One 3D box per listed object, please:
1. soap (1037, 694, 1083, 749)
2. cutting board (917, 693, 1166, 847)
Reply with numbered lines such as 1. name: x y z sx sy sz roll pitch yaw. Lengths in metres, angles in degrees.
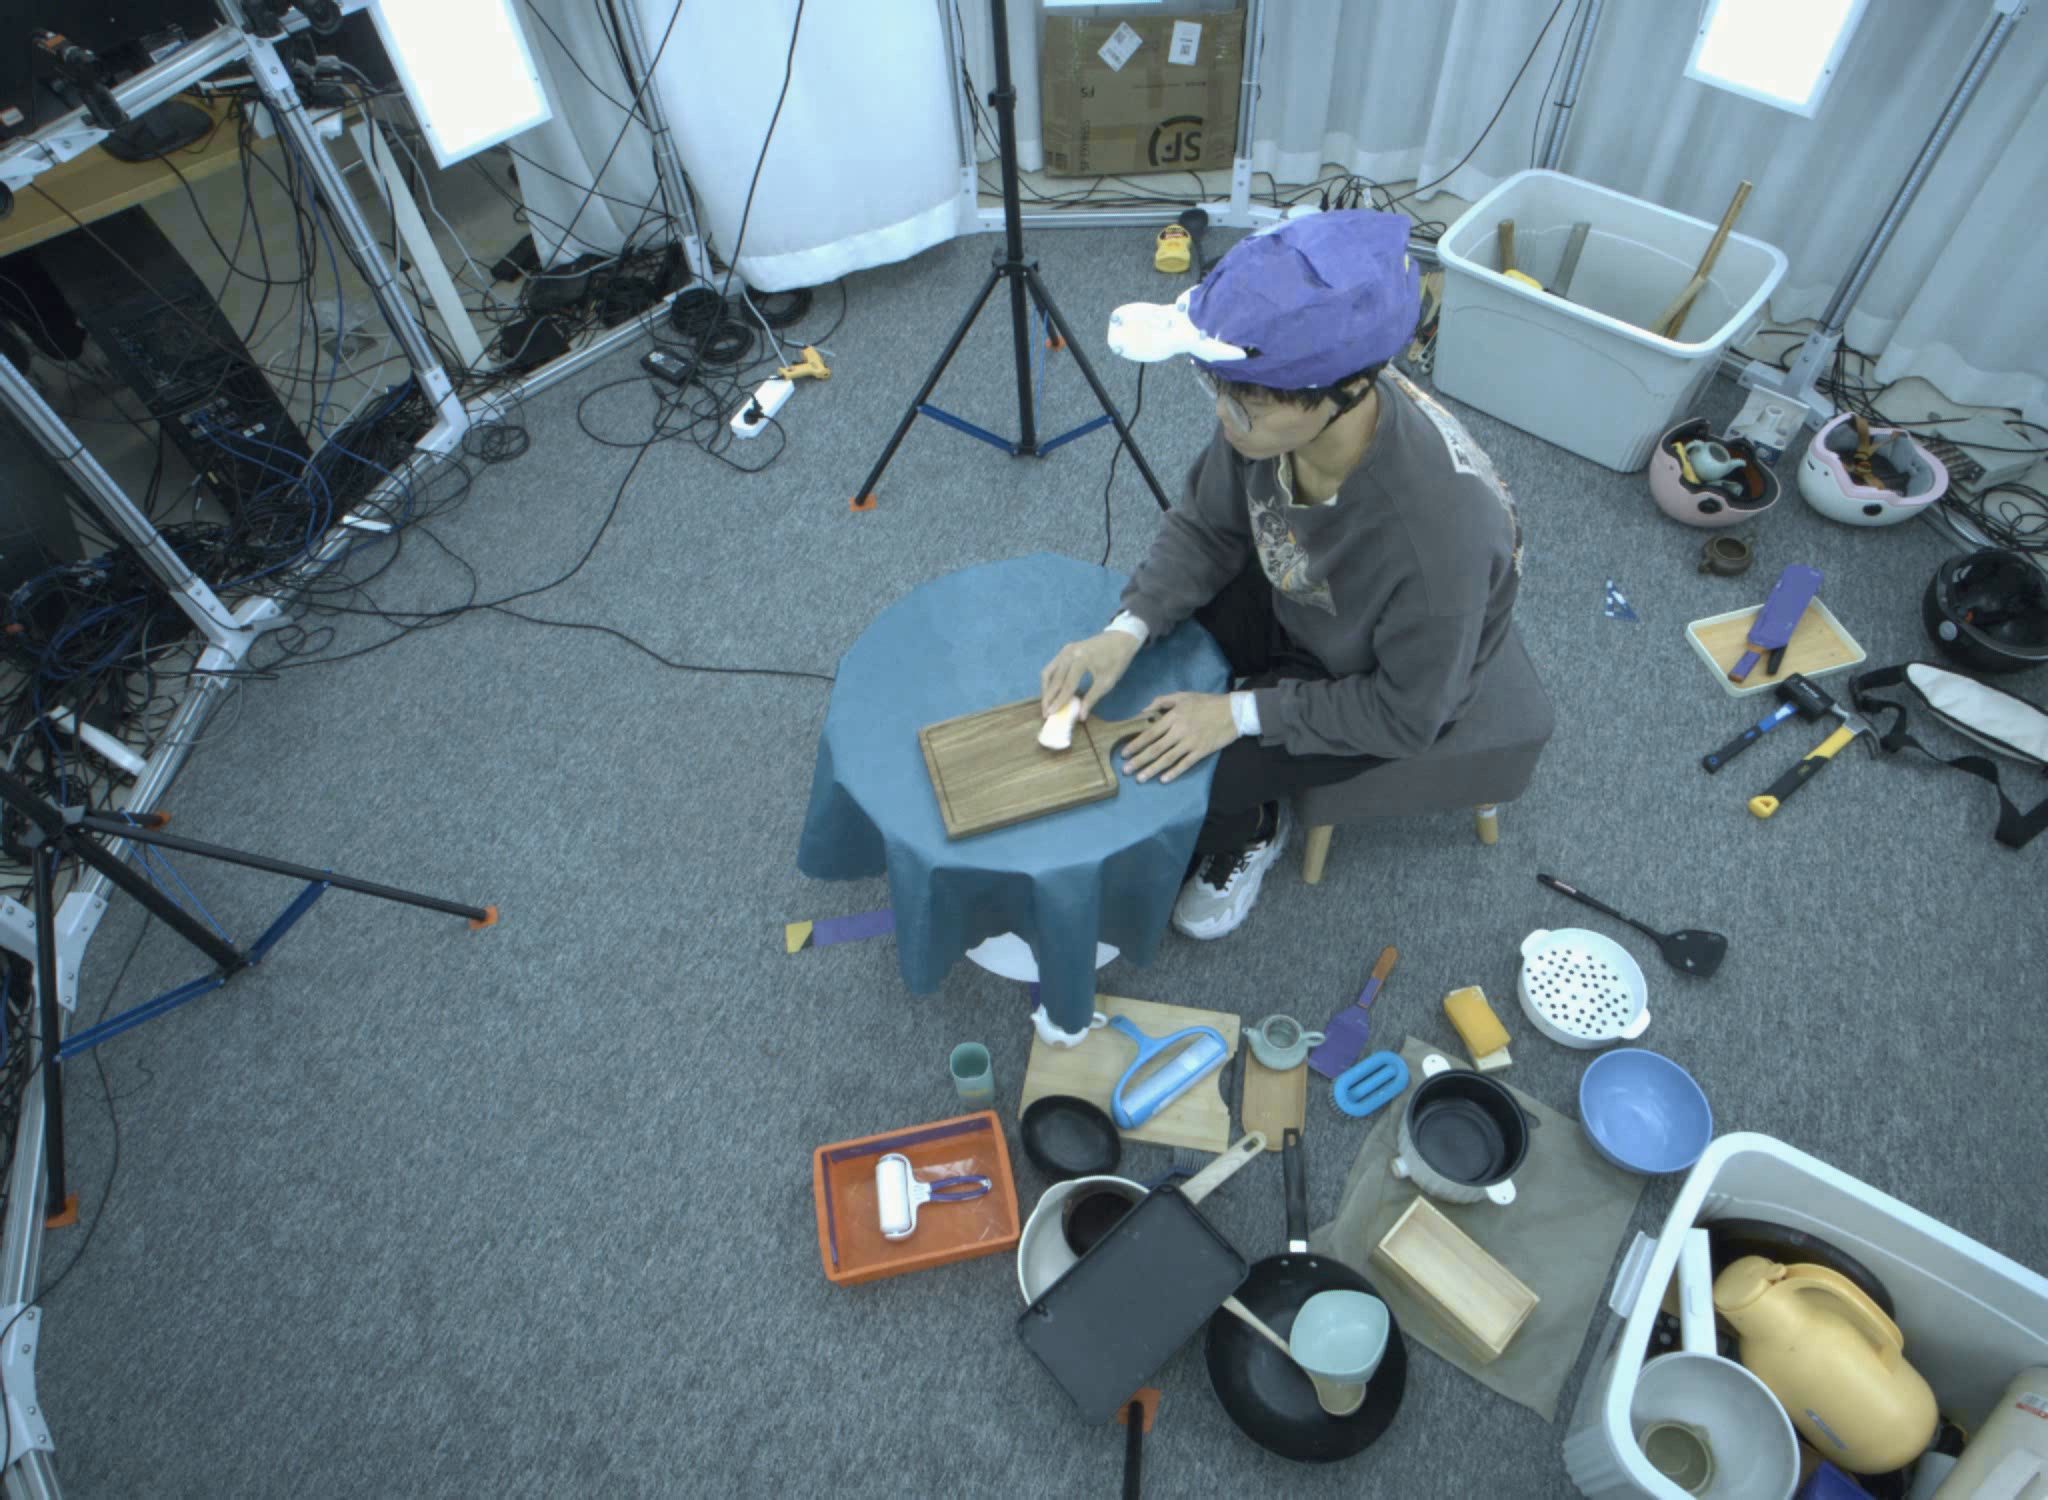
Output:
1. soap: 0.052 -0.041 1.776 0.050 0.031 0.094 12 56 12
2. cutting board: 0.036 0.012 1.762 0.354 0.023 0.198 -14 55 -8
